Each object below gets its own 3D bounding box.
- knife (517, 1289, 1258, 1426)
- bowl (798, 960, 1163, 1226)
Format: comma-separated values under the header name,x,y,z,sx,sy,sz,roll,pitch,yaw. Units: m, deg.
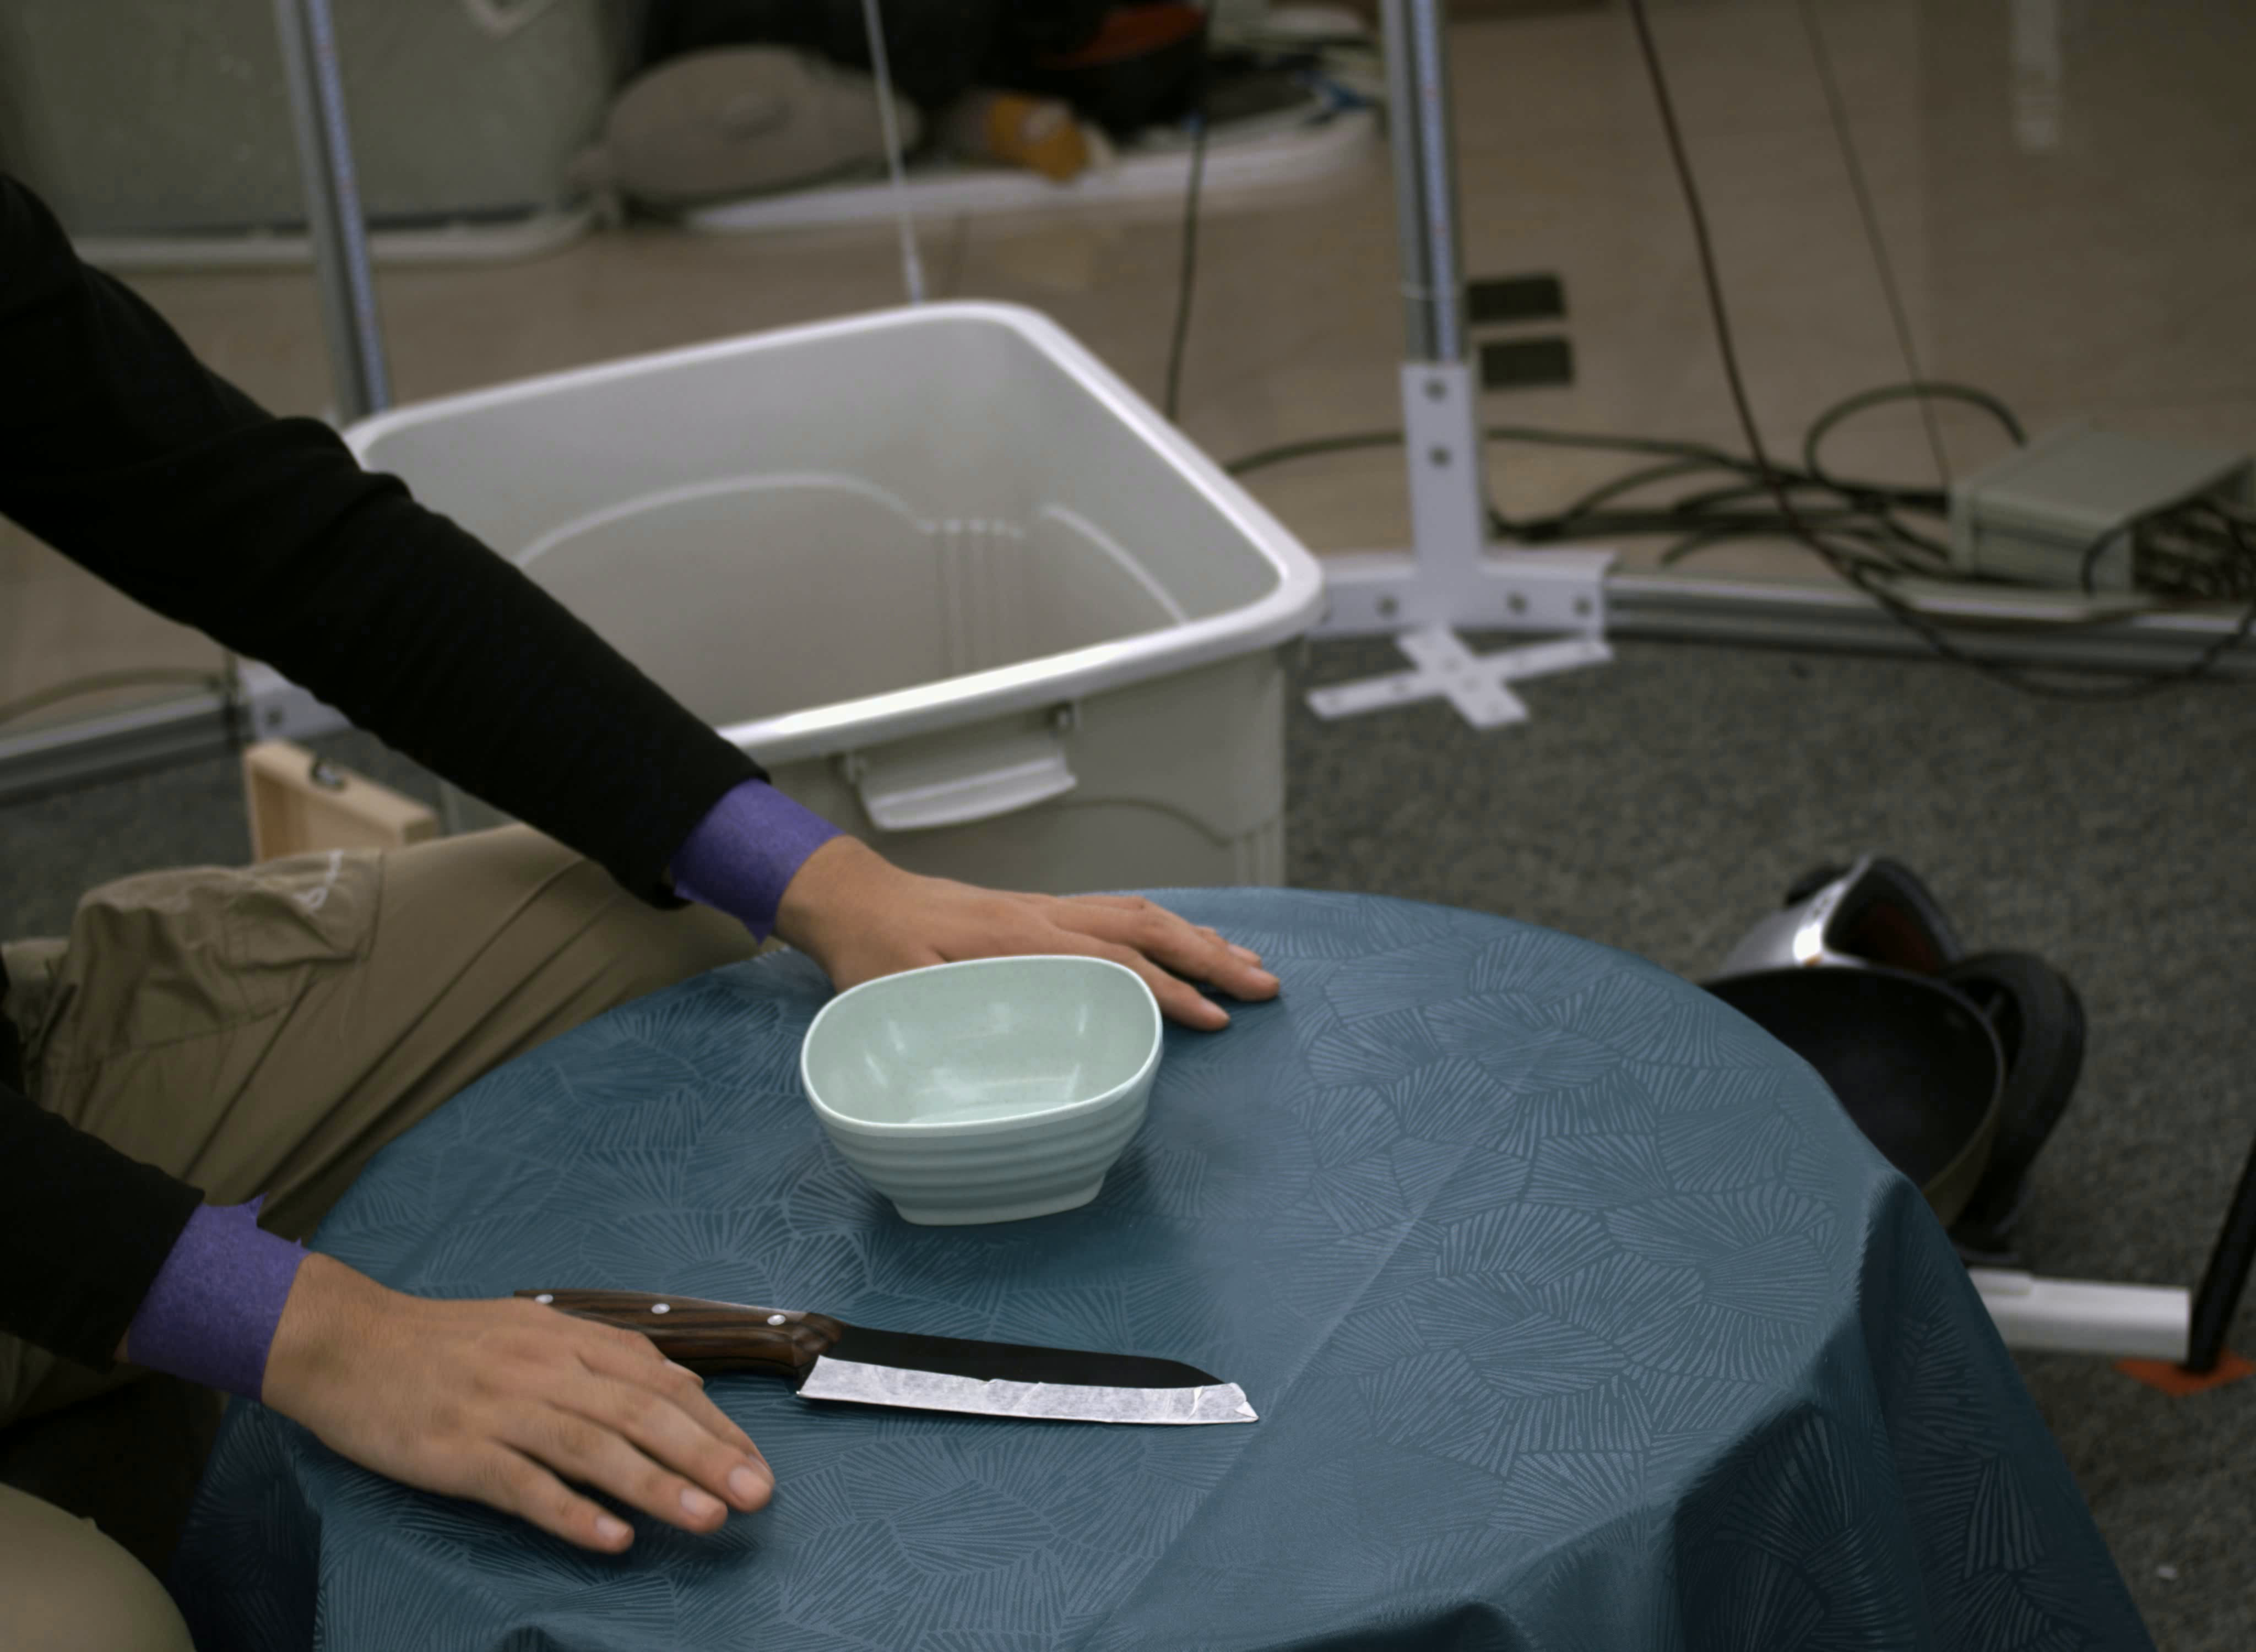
name,x,y,z,sx,sy,sz,roll,pitch,yaw
knife,-0.090,0.193,2.039,0.288,0.020,0.049,5,33,18
bowl,-0.054,0.107,2.165,0.151,0.059,0.149,-4,25,2
